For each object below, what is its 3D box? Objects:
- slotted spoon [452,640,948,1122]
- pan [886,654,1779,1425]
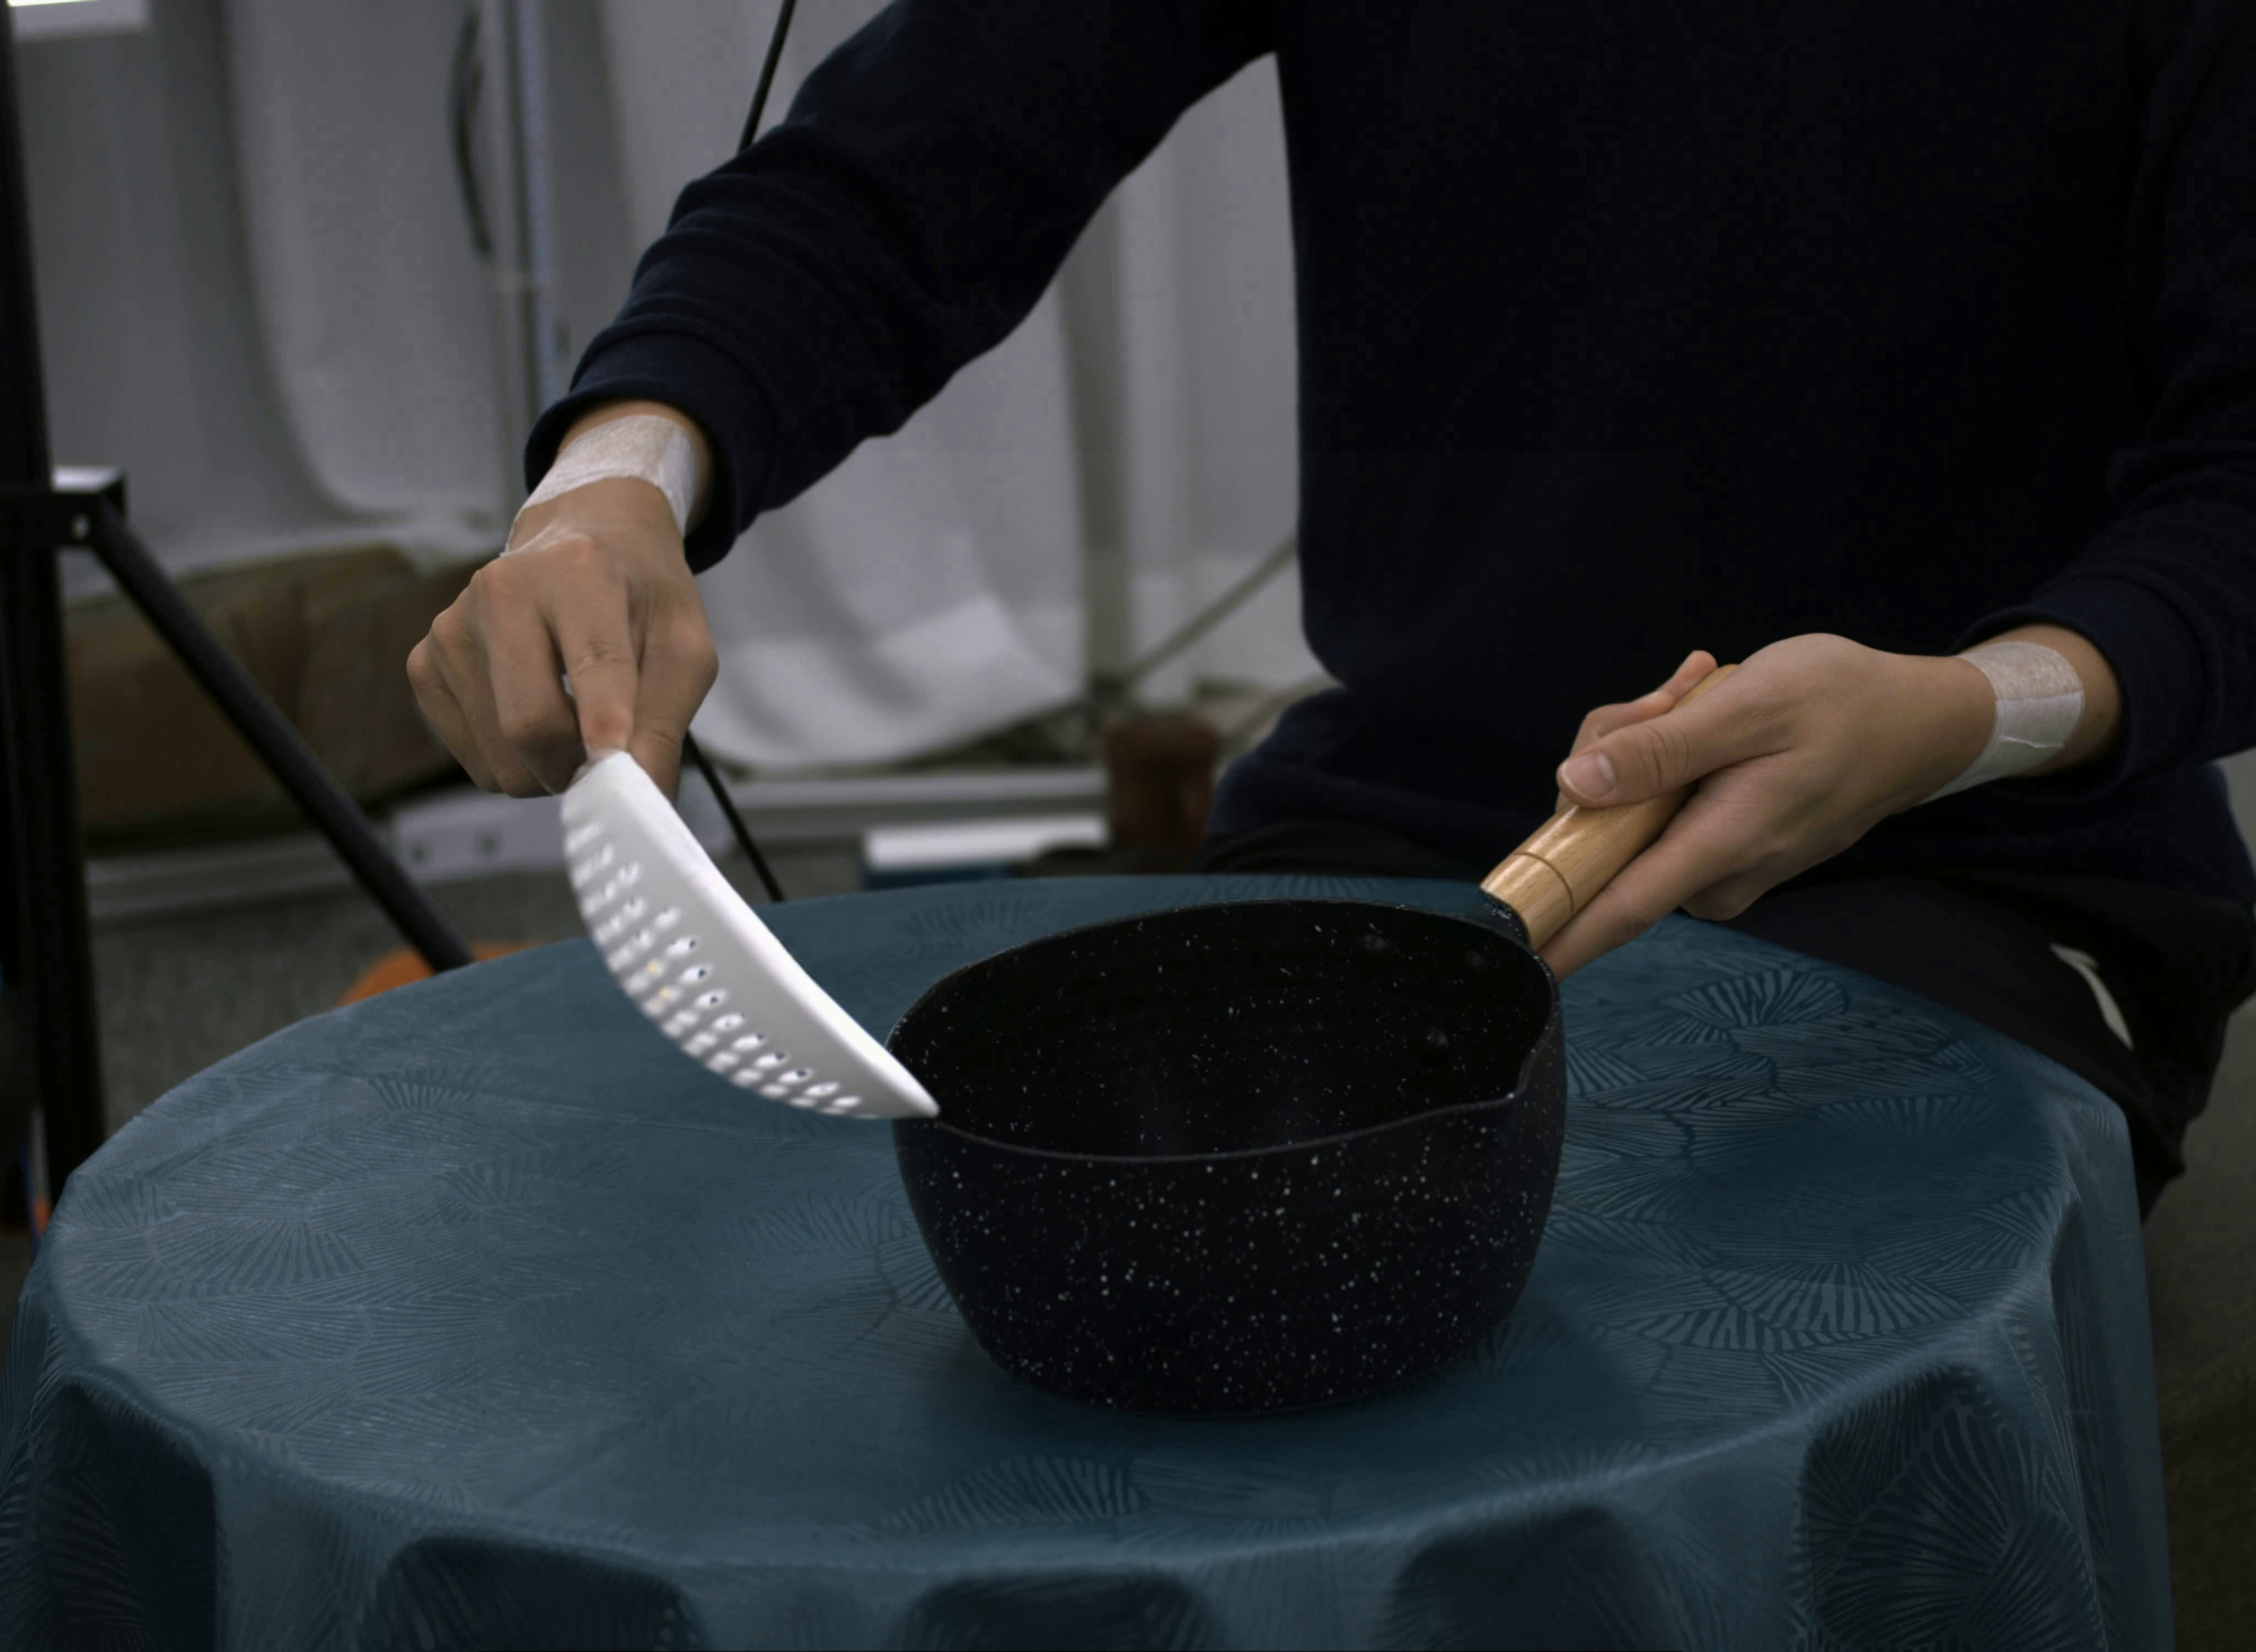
[{"bbox_3d":[-0.138,-0.001,1.480,0.050,0.134,0.353,-44,25,4],"label":"slotted spoon"},{"bbox_3d":[0.078,0.055,1.485,0.212,0.108,0.336,9,26,41],"label":"pan"}]
